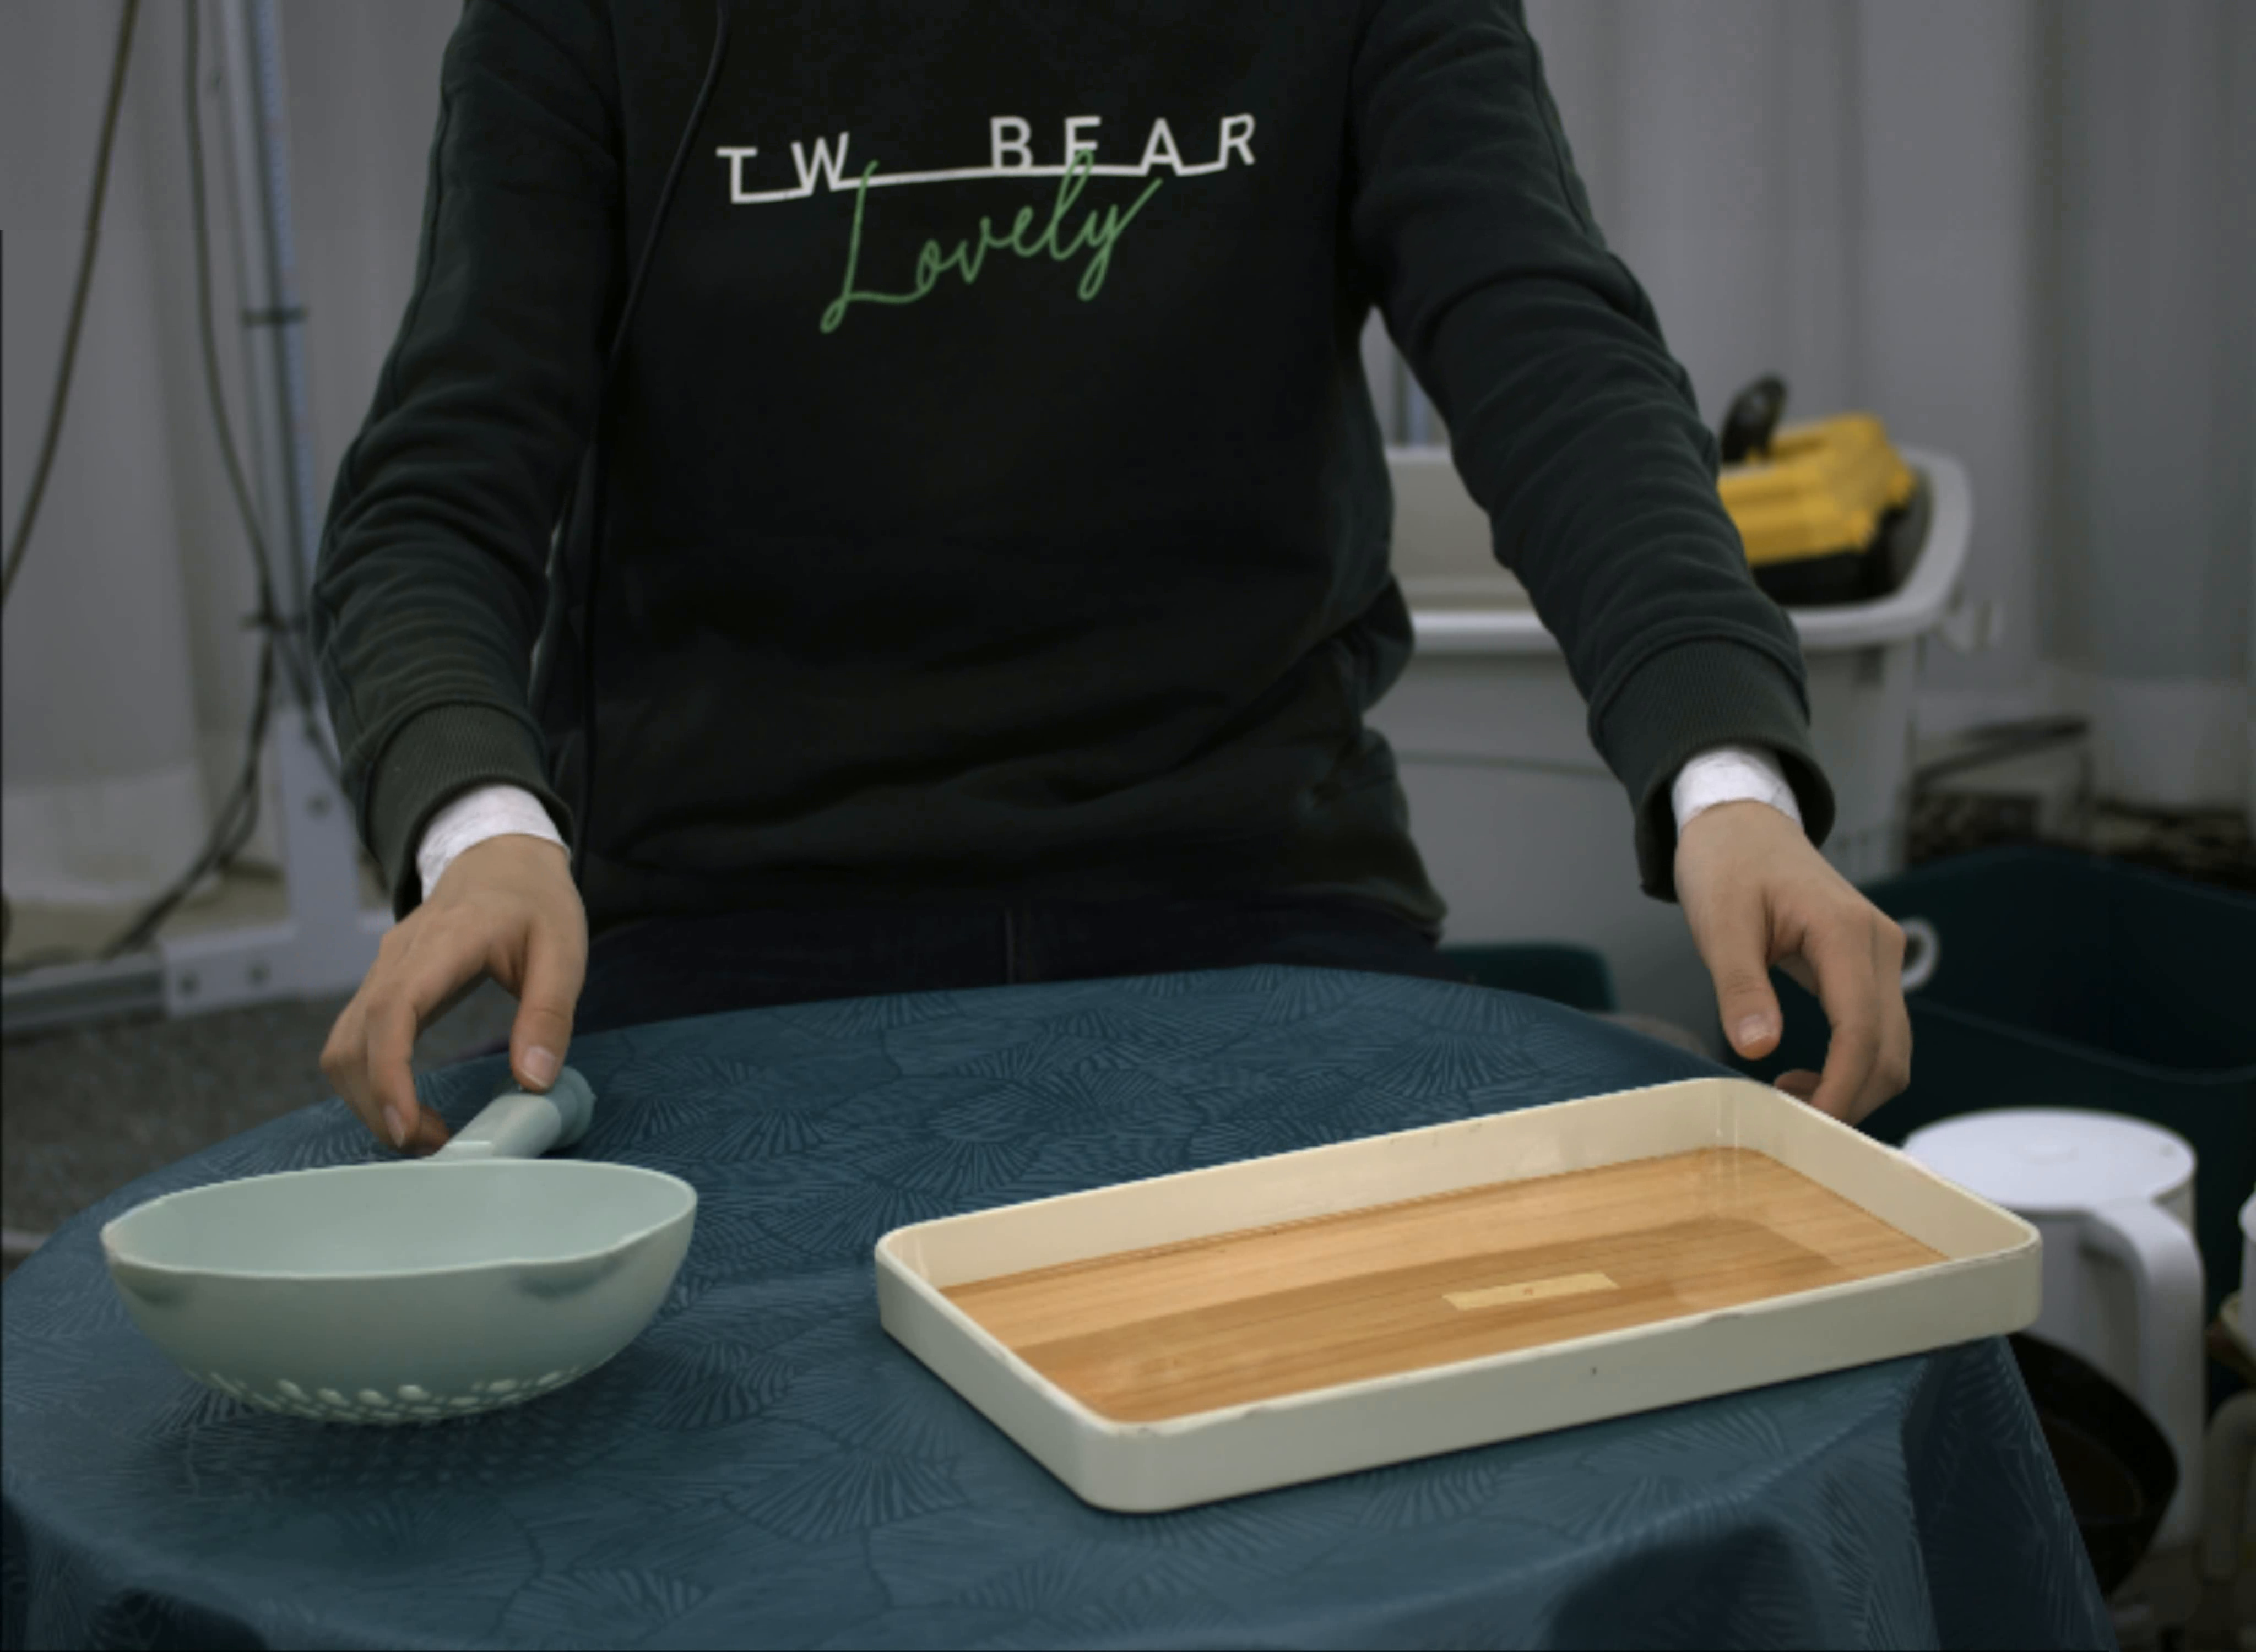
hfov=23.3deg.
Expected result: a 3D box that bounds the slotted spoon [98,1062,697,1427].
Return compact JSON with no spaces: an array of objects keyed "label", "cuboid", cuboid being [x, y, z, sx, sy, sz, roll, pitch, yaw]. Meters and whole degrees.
[{"label":"slotted spoon","cuboid":[-0.199,0.110,1.646,0.169,0.075,0.361,-1,15,4]}]

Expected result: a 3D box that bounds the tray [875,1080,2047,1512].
[{"label":"tray","cuboid":[0.094,0.132,1.582,0.299,0.027,0.193,-8,16,-21]}]
